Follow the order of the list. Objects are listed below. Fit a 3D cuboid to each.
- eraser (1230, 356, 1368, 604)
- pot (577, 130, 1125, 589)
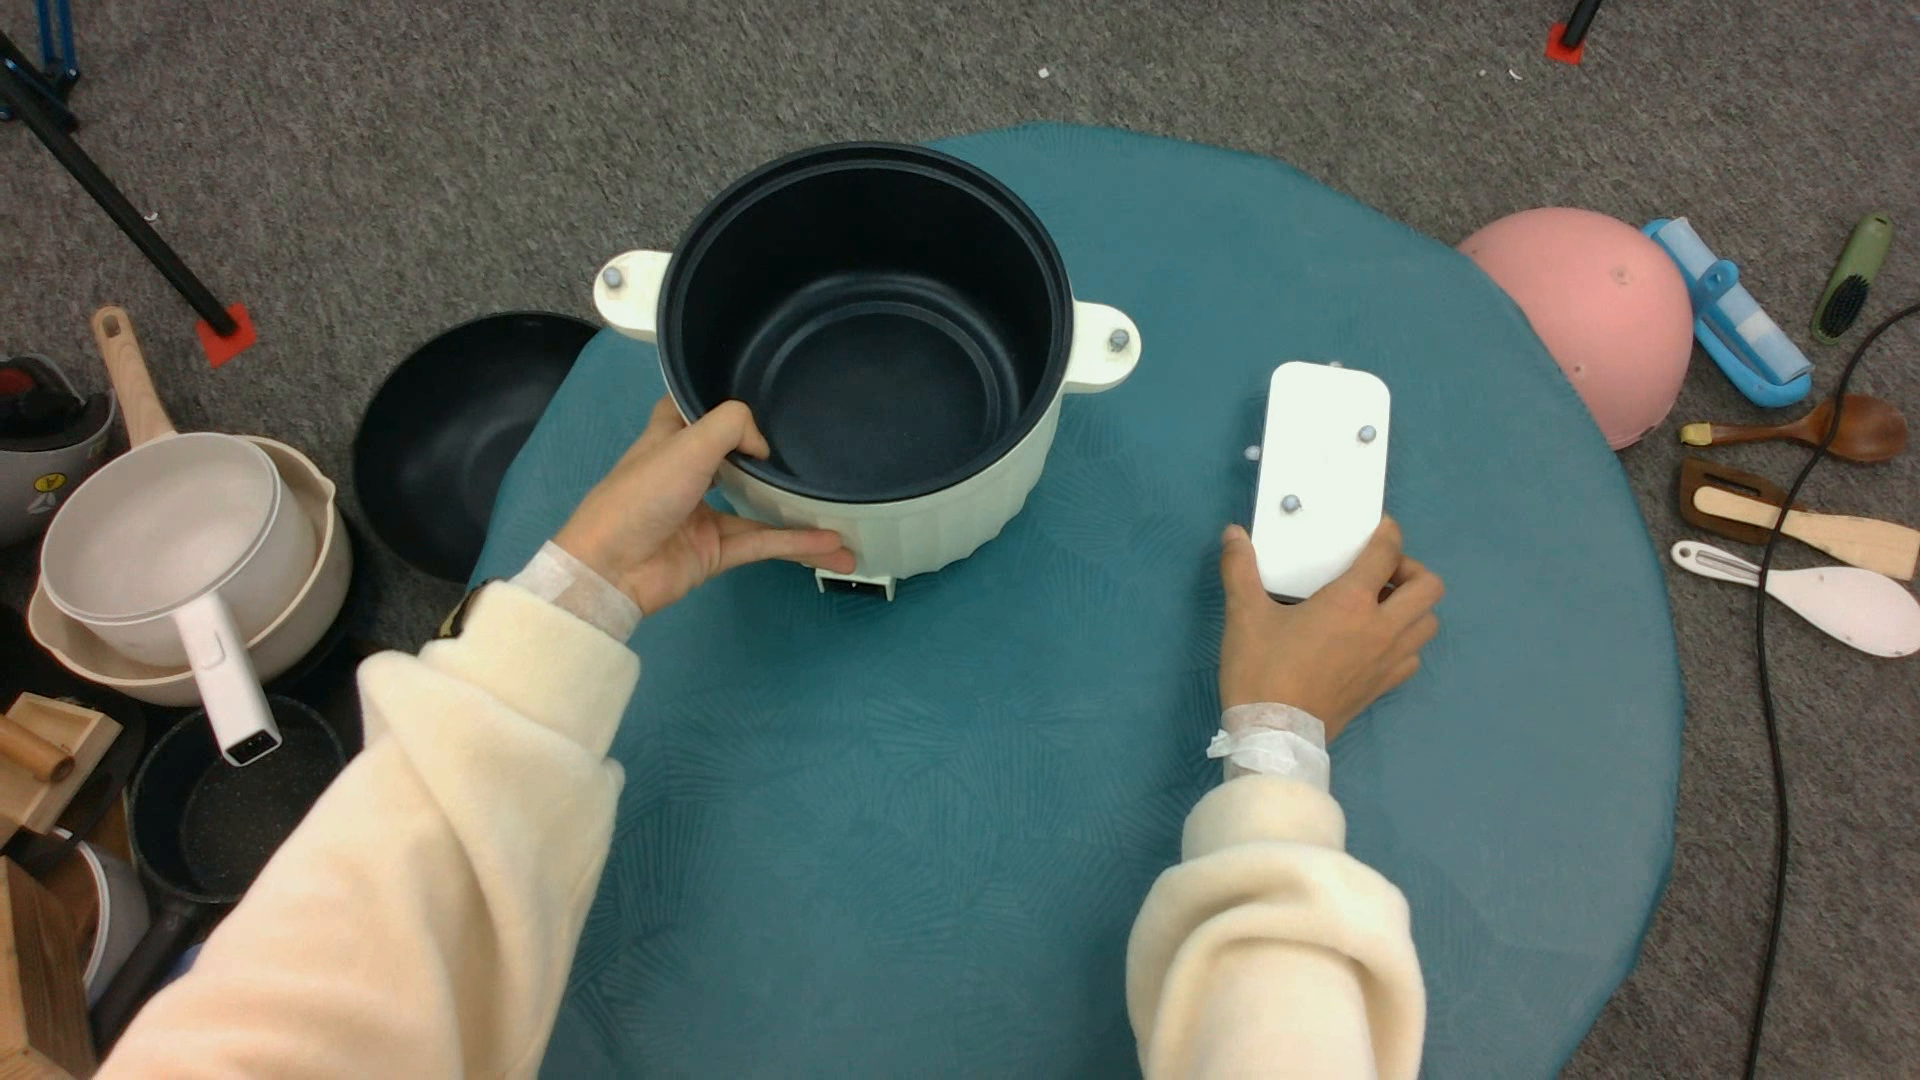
[{"bbox_3d":[0.171,-0.033,0.702,0.063,0.034,0.132,9,68,5],"label":"eraser"},{"bbox_3d":[-0.049,-0.085,0.659,0.240,0.142,0.191,6,71,0],"label":"pot"}]
